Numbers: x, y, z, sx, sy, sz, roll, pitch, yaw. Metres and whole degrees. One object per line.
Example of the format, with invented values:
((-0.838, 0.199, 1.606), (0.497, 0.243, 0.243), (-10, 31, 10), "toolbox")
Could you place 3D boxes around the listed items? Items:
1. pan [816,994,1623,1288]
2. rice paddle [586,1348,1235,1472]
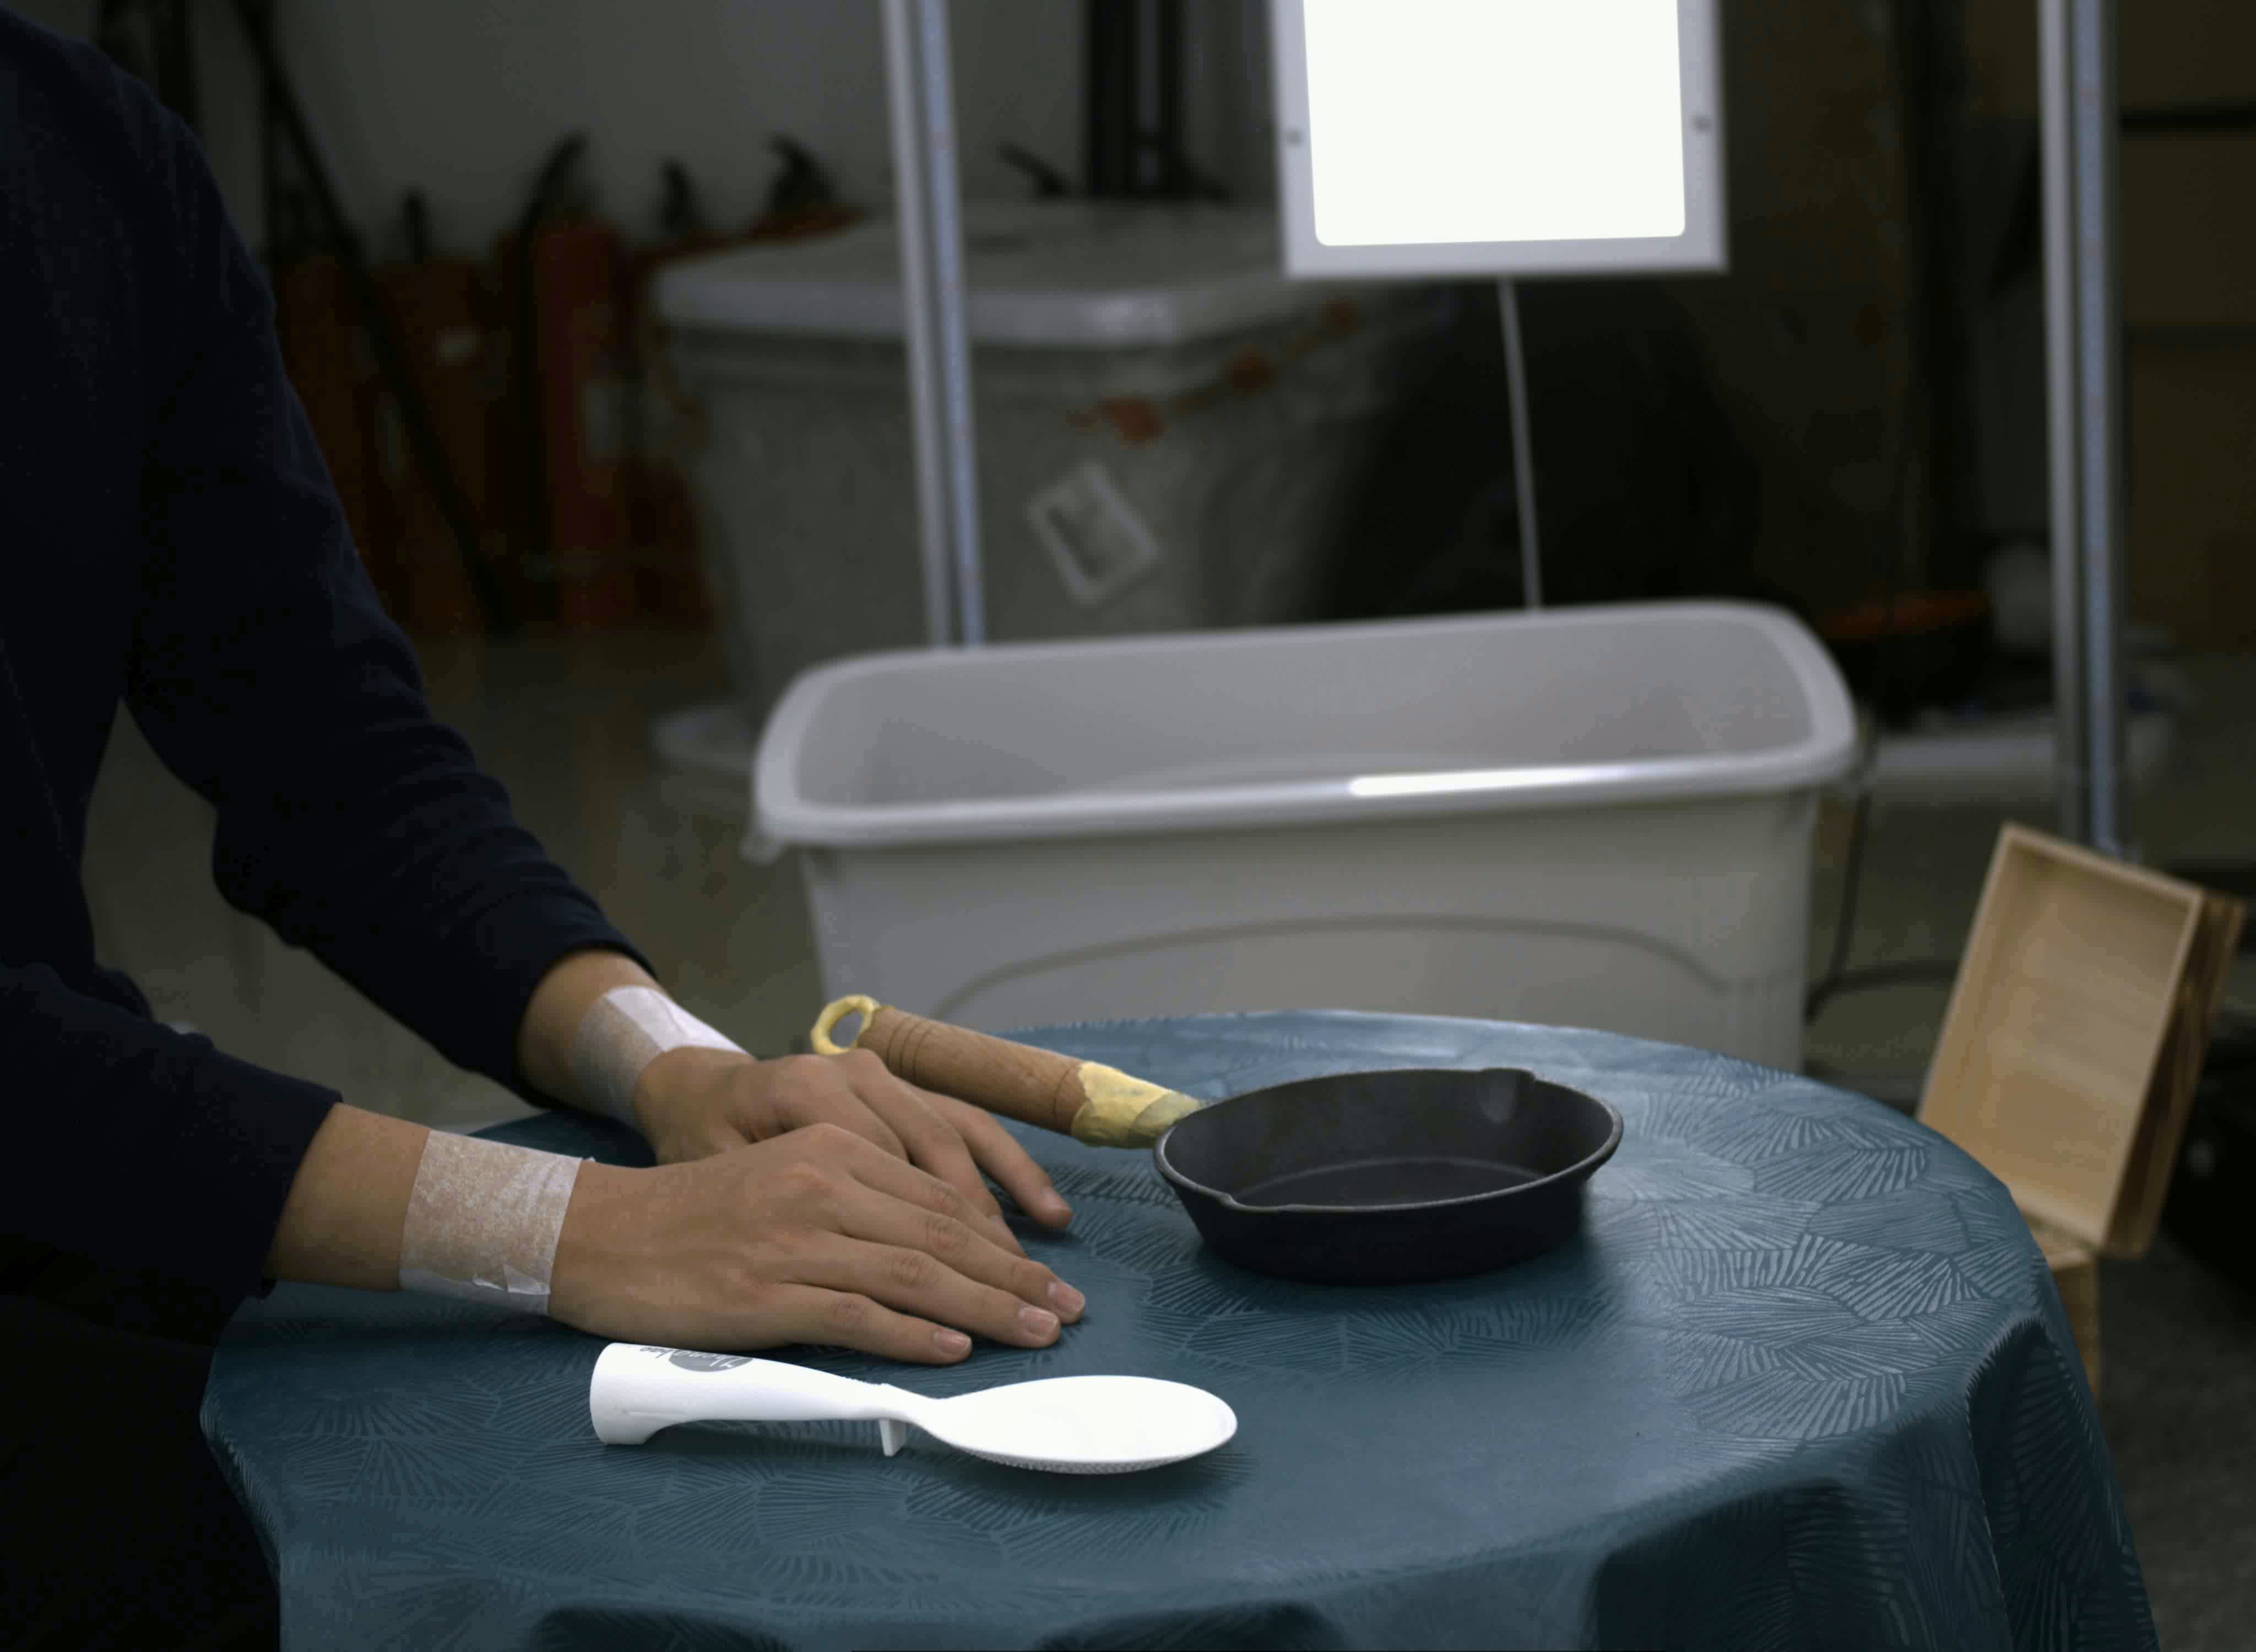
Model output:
((0.021, 0.102, 1.884), (0.331, 0.050, 0.164), (8, 19, 39), "pan")
((-0.065, 0.175, 1.663), (0.208, 0.029, 0.067), (0, 16, 22), "rice paddle")
